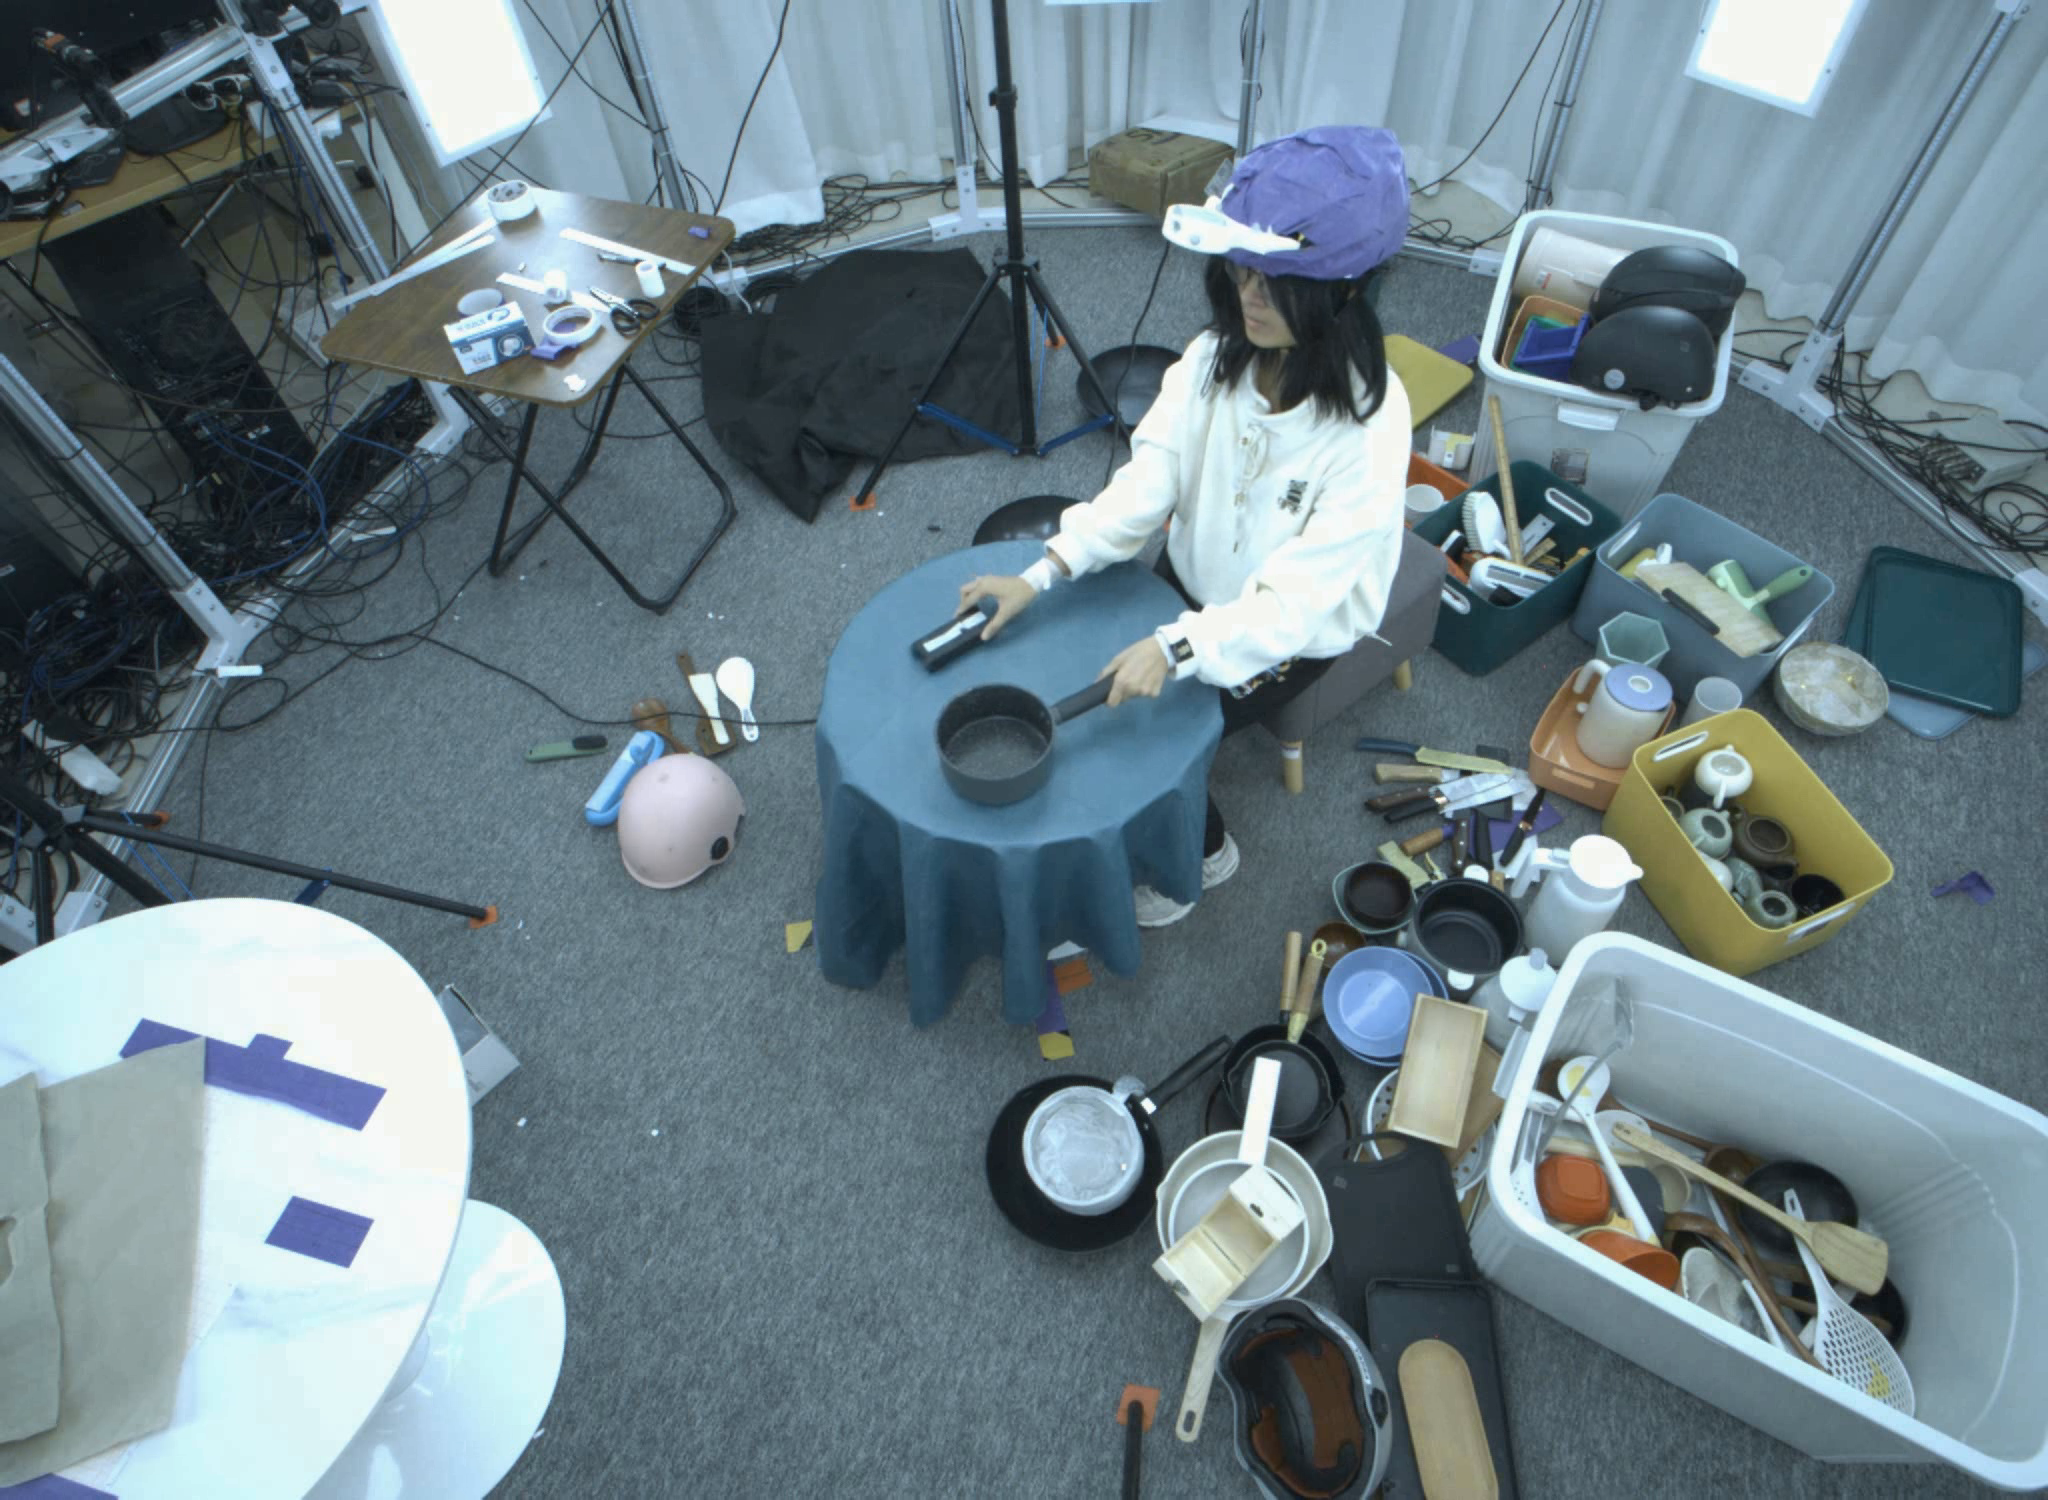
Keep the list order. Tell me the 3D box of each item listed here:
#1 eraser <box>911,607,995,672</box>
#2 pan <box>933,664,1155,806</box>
[{"bbox_3d":[-0.110,-0.171,1.895,0.126,0.031,0.052,-32,63,-21],"label":"eraser"},{"bbox_3d":[0.033,-0.036,1.760,0.331,0.087,0.169,-21,58,-12],"label":"pan"}]
